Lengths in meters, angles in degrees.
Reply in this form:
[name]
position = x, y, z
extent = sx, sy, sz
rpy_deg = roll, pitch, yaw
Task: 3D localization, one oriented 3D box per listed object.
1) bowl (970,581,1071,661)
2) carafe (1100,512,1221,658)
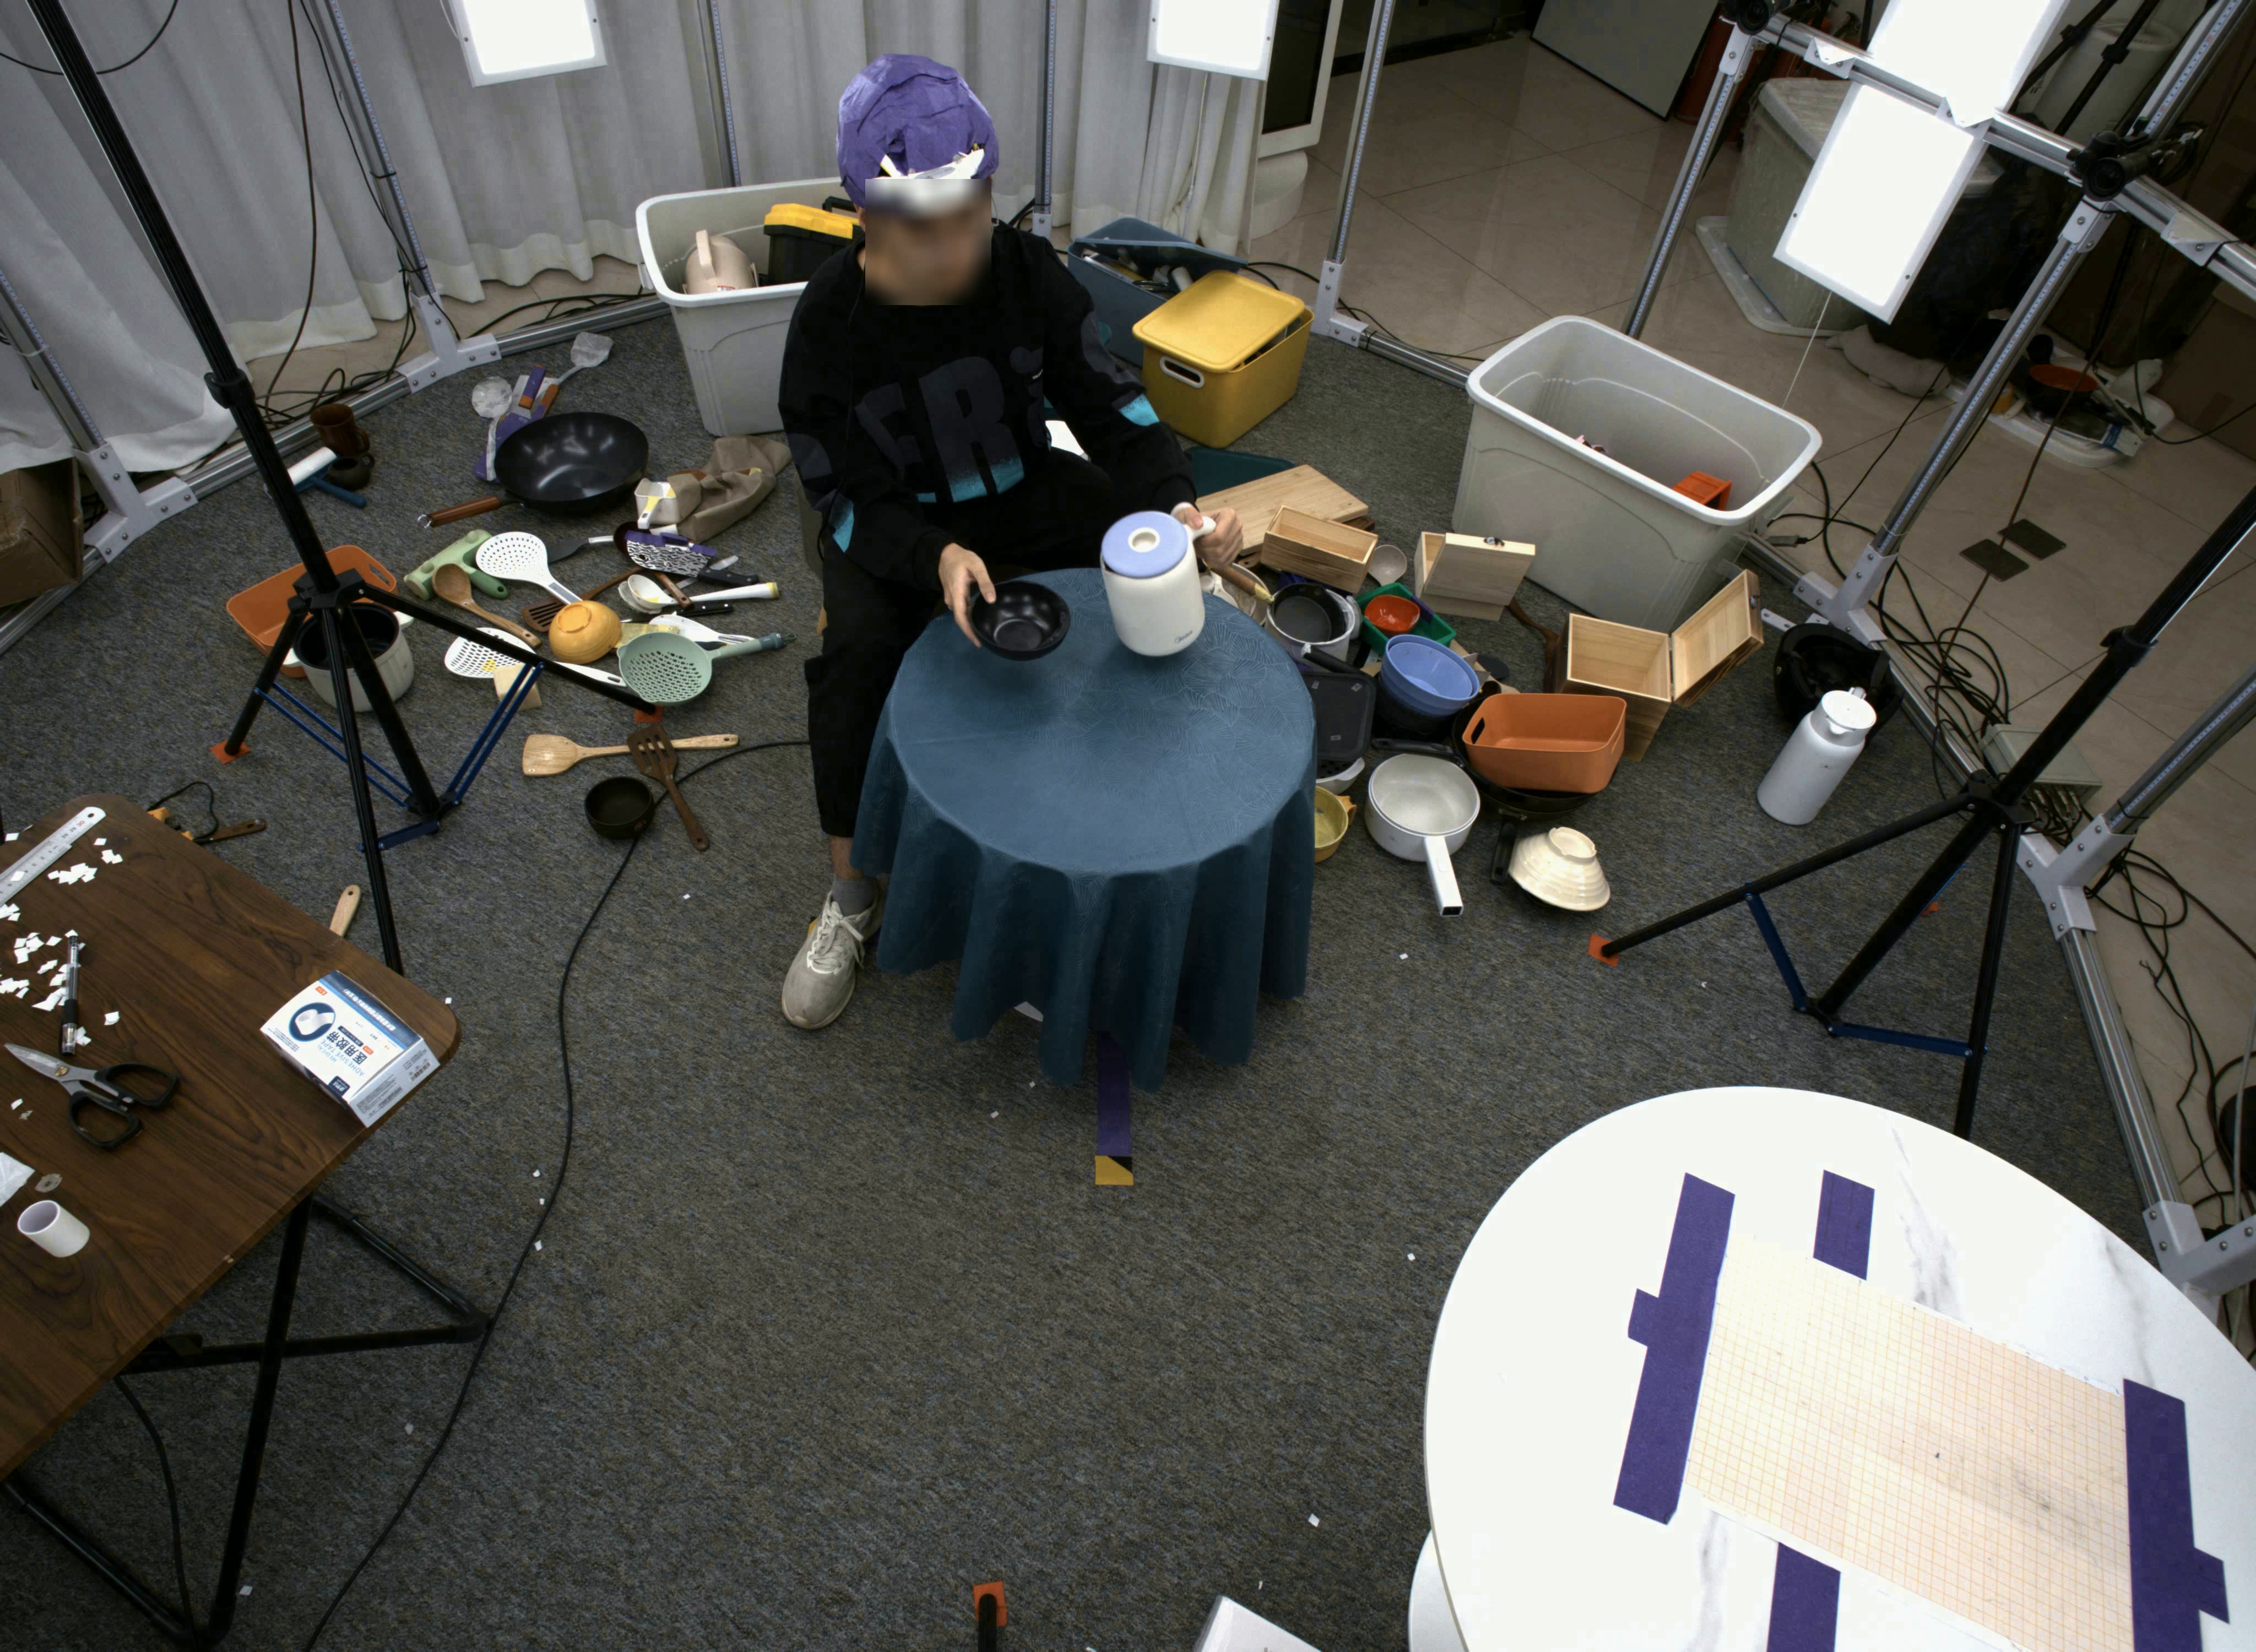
[bowl]
position = -0.149, -0.276, 1.786
extent = 0.140, 0.048, 0.143
rpy_deg = 3, 50, -4
[carafe]
position = 0.054, -0.350, 1.806
extent = 0.192, 0.178, 0.135
rpy_deg = -33, 59, -15
